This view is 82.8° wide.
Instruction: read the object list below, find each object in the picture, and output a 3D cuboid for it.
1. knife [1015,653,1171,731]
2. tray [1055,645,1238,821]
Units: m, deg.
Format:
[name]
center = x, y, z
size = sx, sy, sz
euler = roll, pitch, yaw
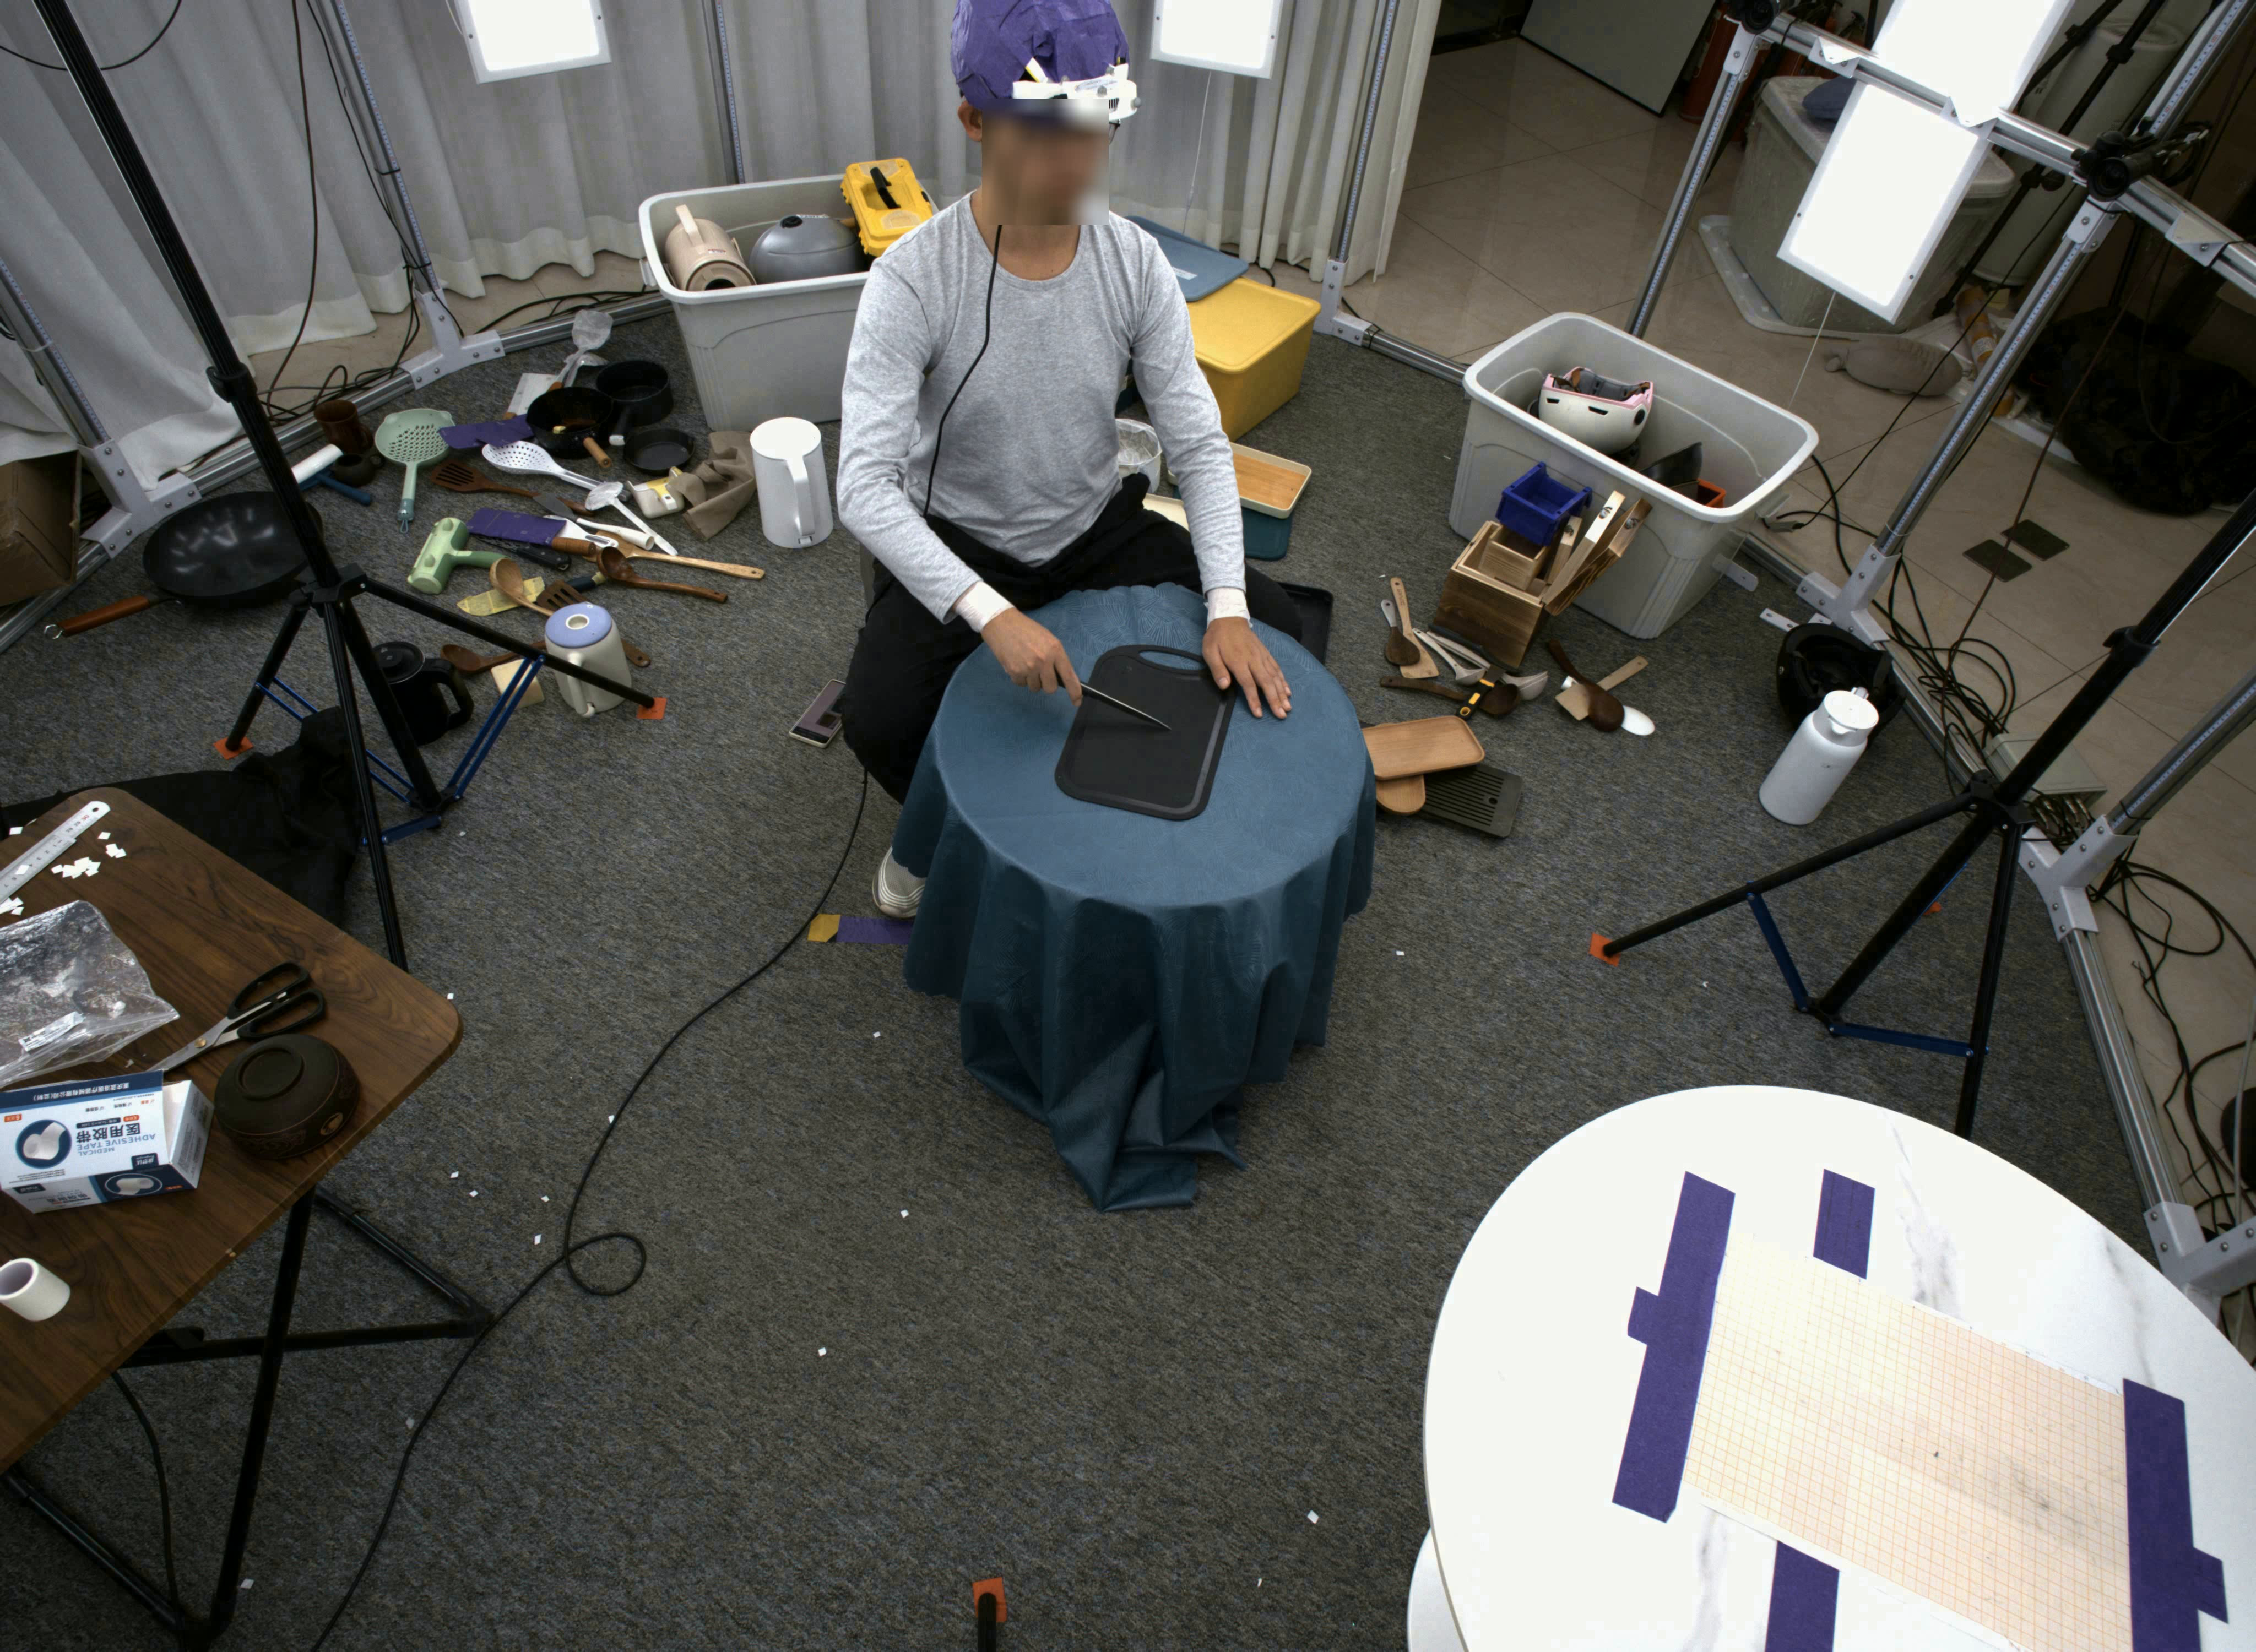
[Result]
[knife]
center = -0.045, -0.183, 1.767
size = 0.237, 0.024, 0.016
euler = 25, 63, -9
[tray]
center = 0.031, -0.143, 1.790
size = 0.211, 0.009, 0.332
euler = 13, 49, 7
